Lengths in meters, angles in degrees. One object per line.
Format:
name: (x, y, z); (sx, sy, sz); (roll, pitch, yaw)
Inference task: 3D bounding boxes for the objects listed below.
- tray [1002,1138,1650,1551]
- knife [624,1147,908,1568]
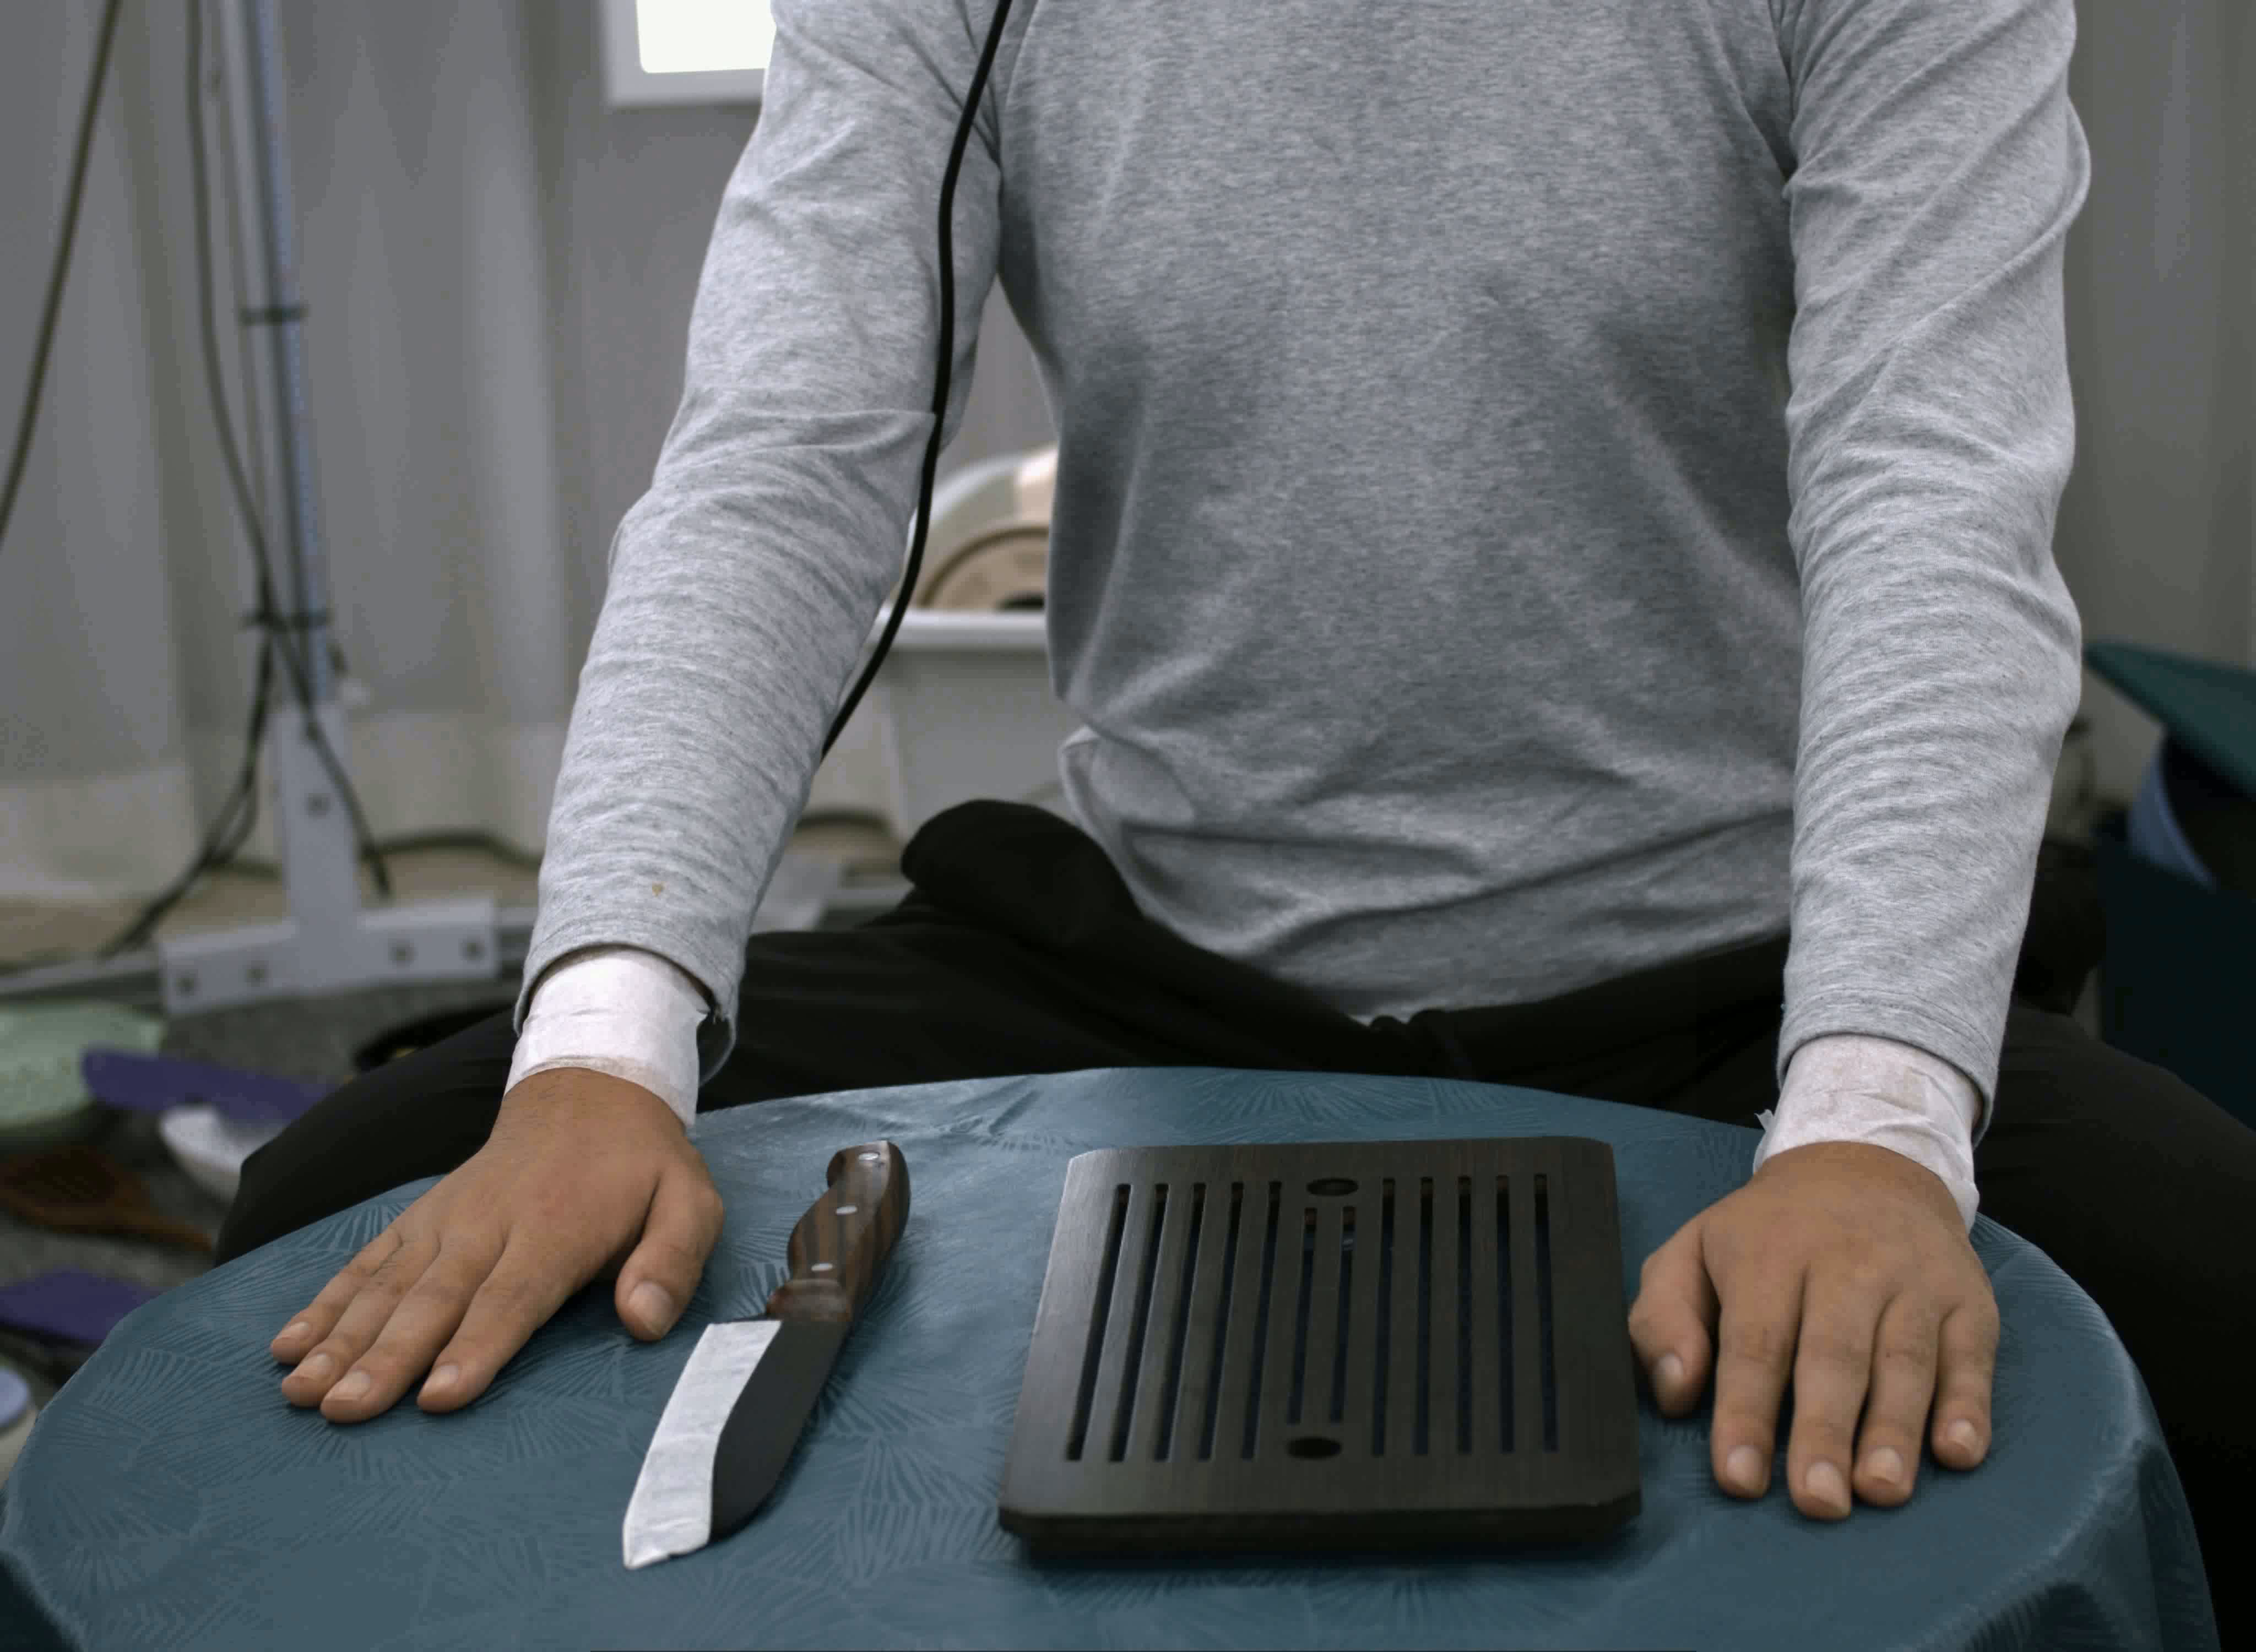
tray: (0.060, 0.145, 1.558); (0.169, 0.018, 0.308); (-2, 14, 5)
knife: (-0.102, 0.151, 1.570); (0.050, 0.020, 0.291); (-5, 16, 12)
